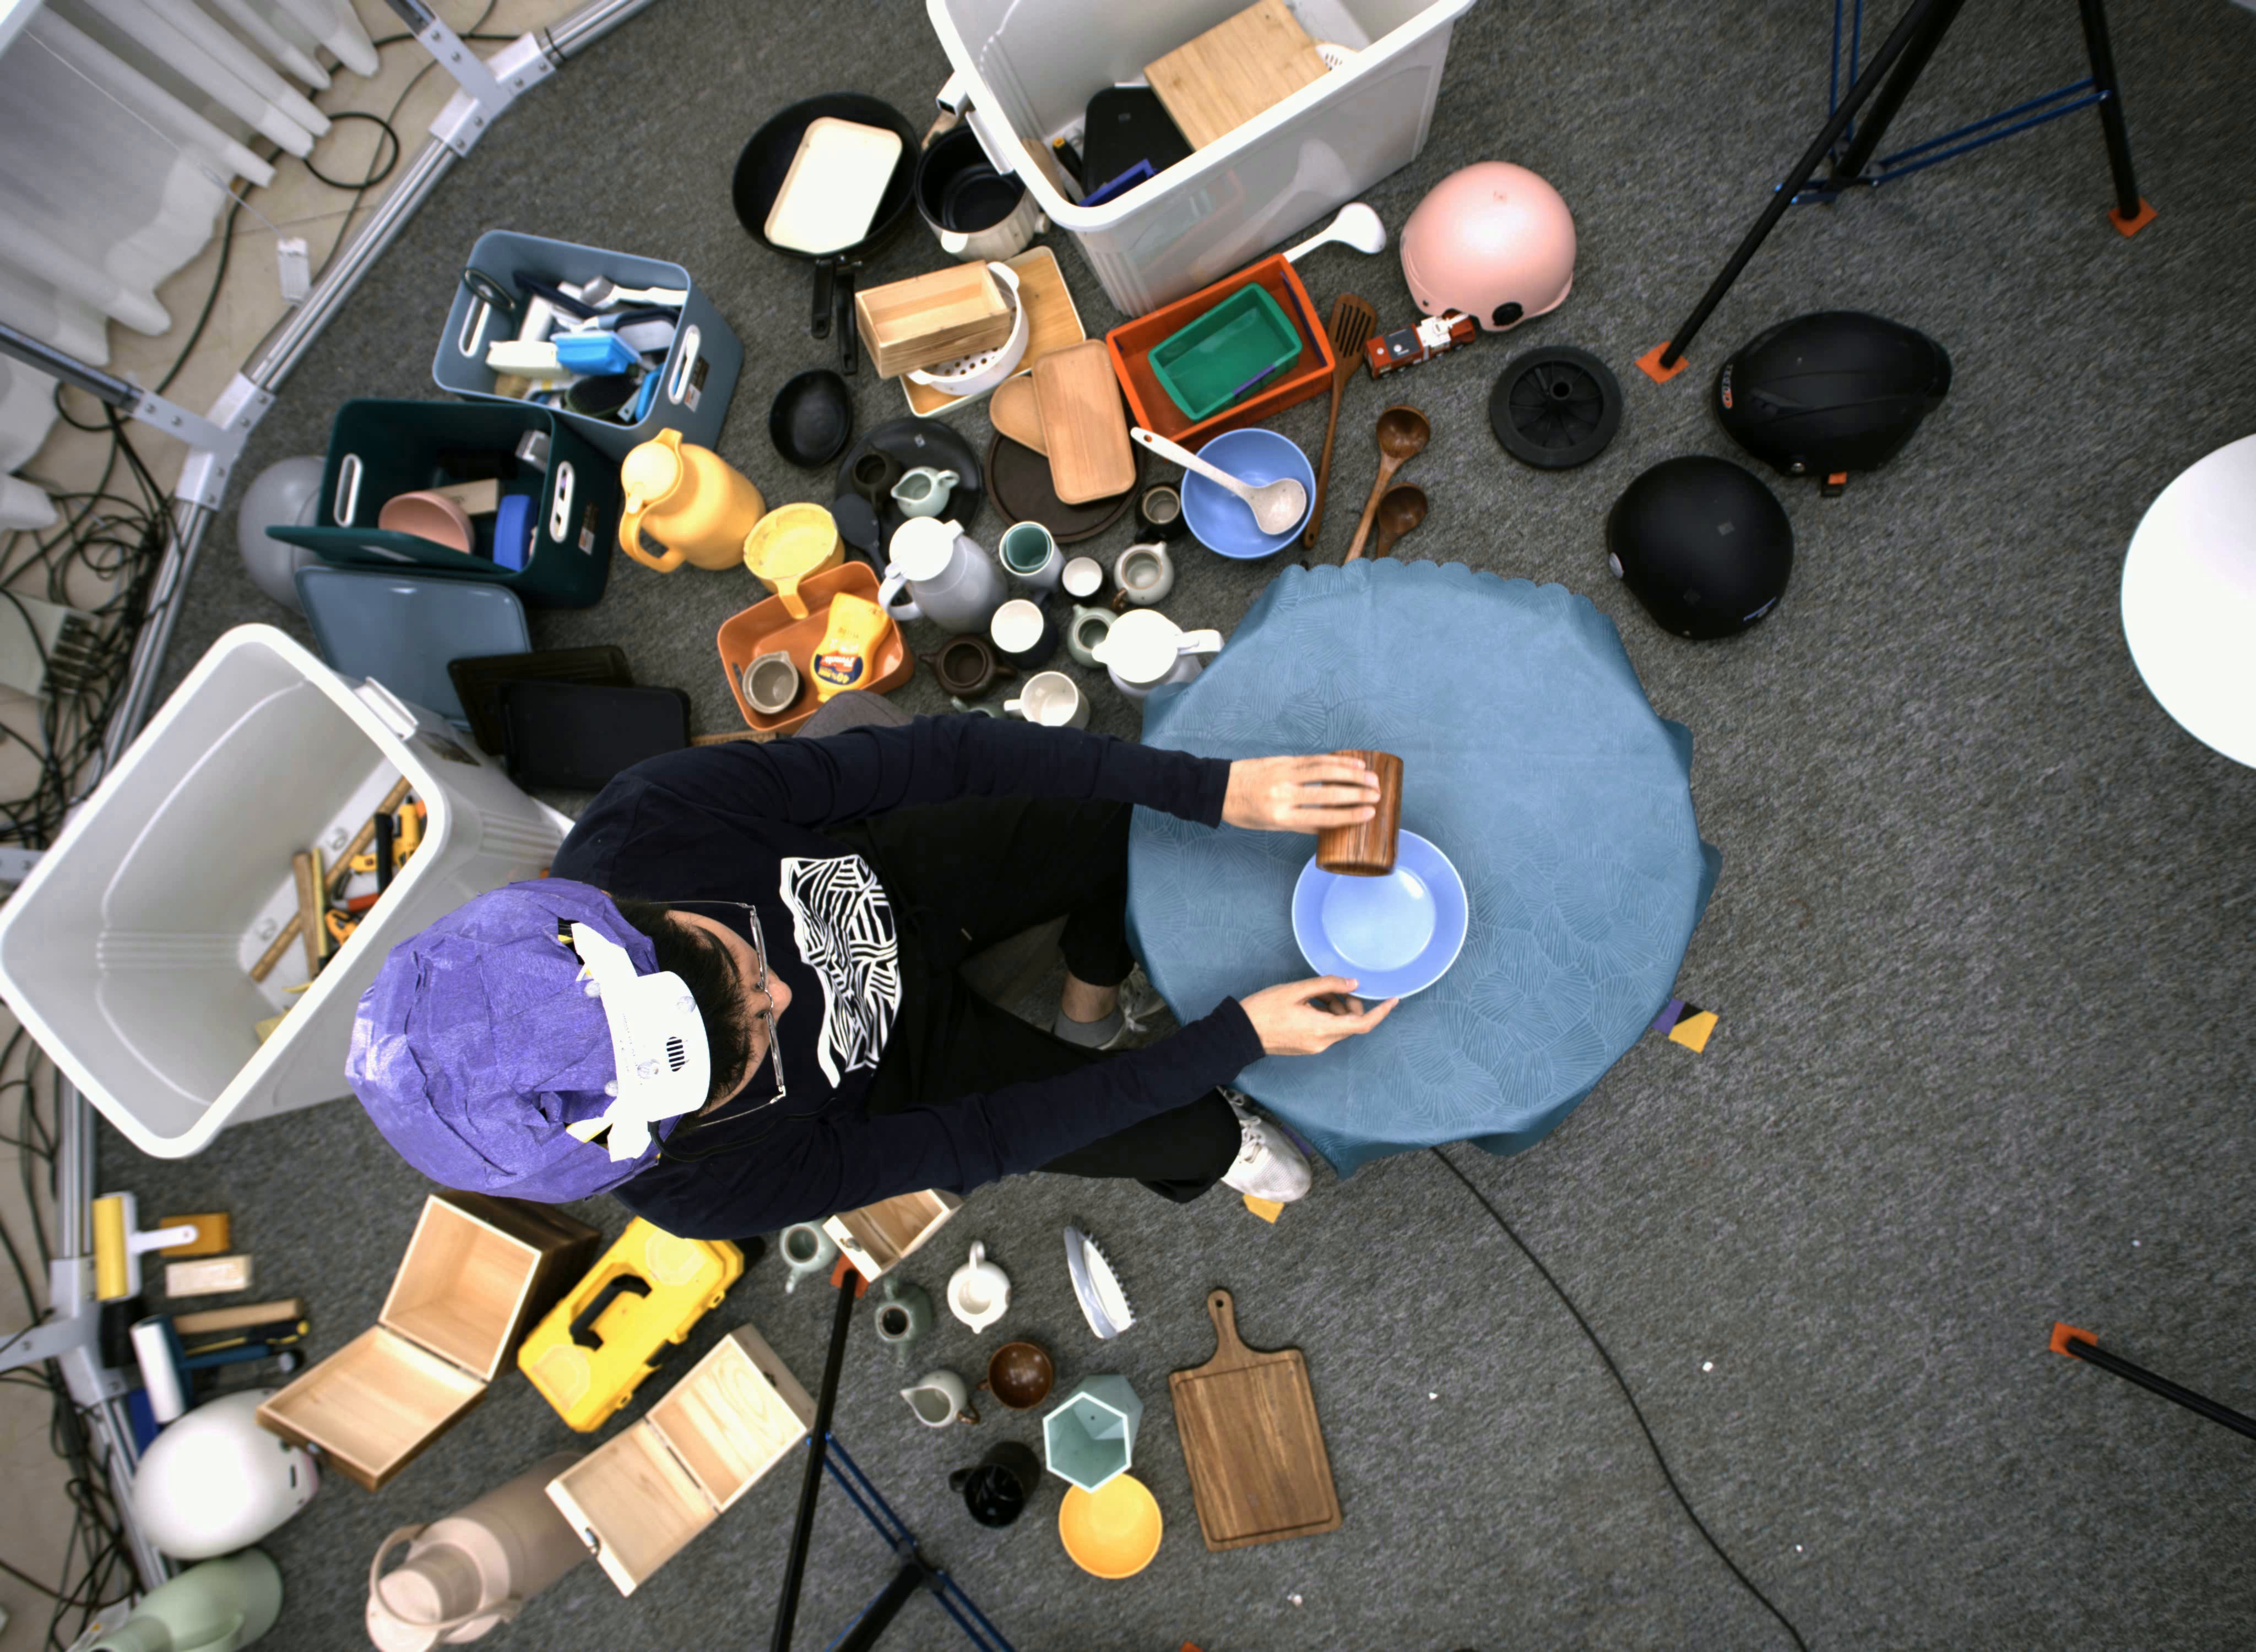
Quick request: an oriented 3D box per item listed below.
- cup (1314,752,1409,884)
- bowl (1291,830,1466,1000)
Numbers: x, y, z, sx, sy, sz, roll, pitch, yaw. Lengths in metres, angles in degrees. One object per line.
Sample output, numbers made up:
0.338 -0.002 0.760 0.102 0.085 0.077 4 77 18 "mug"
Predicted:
0.230 -0.008 1.355 0.088 0.088 0.117 7 84 10 "cup"
0.258 0.090 1.425 0.177 0.070 0.175 -1 86 11 "bowl"
